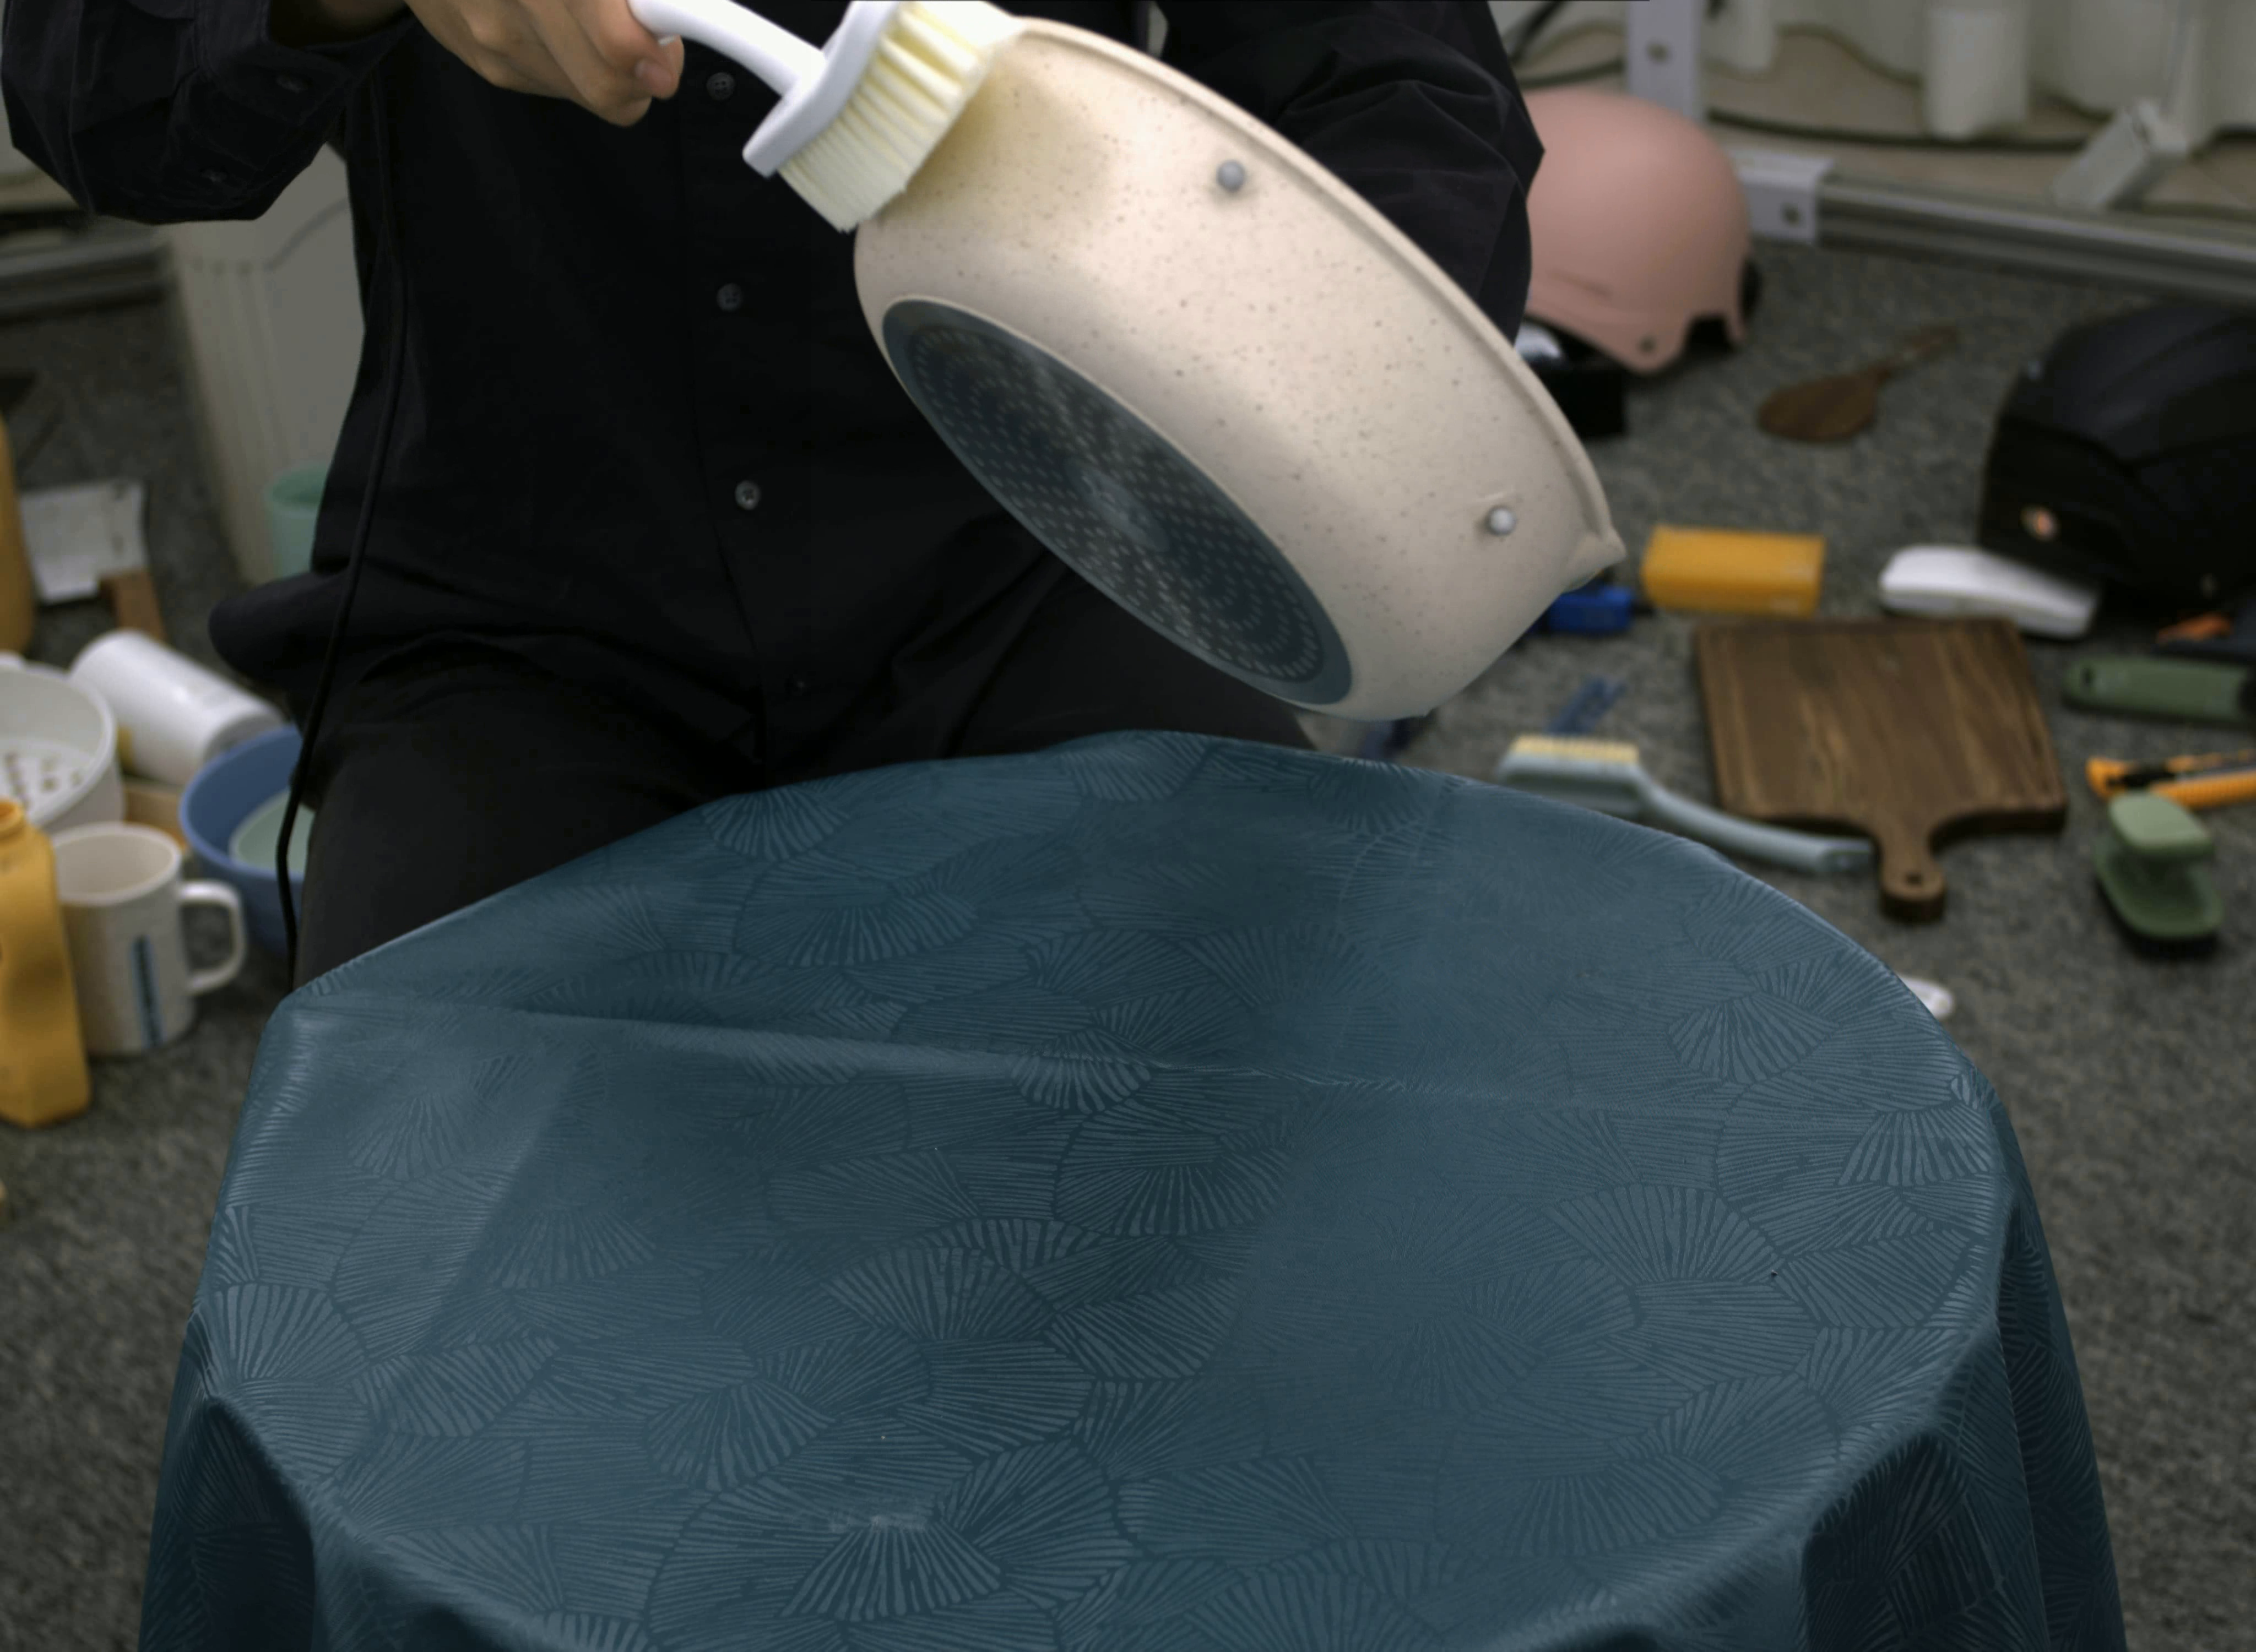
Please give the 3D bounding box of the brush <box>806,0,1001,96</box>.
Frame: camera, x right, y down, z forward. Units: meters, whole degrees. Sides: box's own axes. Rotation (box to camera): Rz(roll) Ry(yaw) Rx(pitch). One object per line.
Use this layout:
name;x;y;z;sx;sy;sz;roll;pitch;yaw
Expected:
brush;-0.088;-0.267;1.733;0.083;0.084;0.324;-20;13;-21

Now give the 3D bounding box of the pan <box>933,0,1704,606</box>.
pan;0.052;-0.141;1.807;0.263;0.430;0.103;35;76;11
